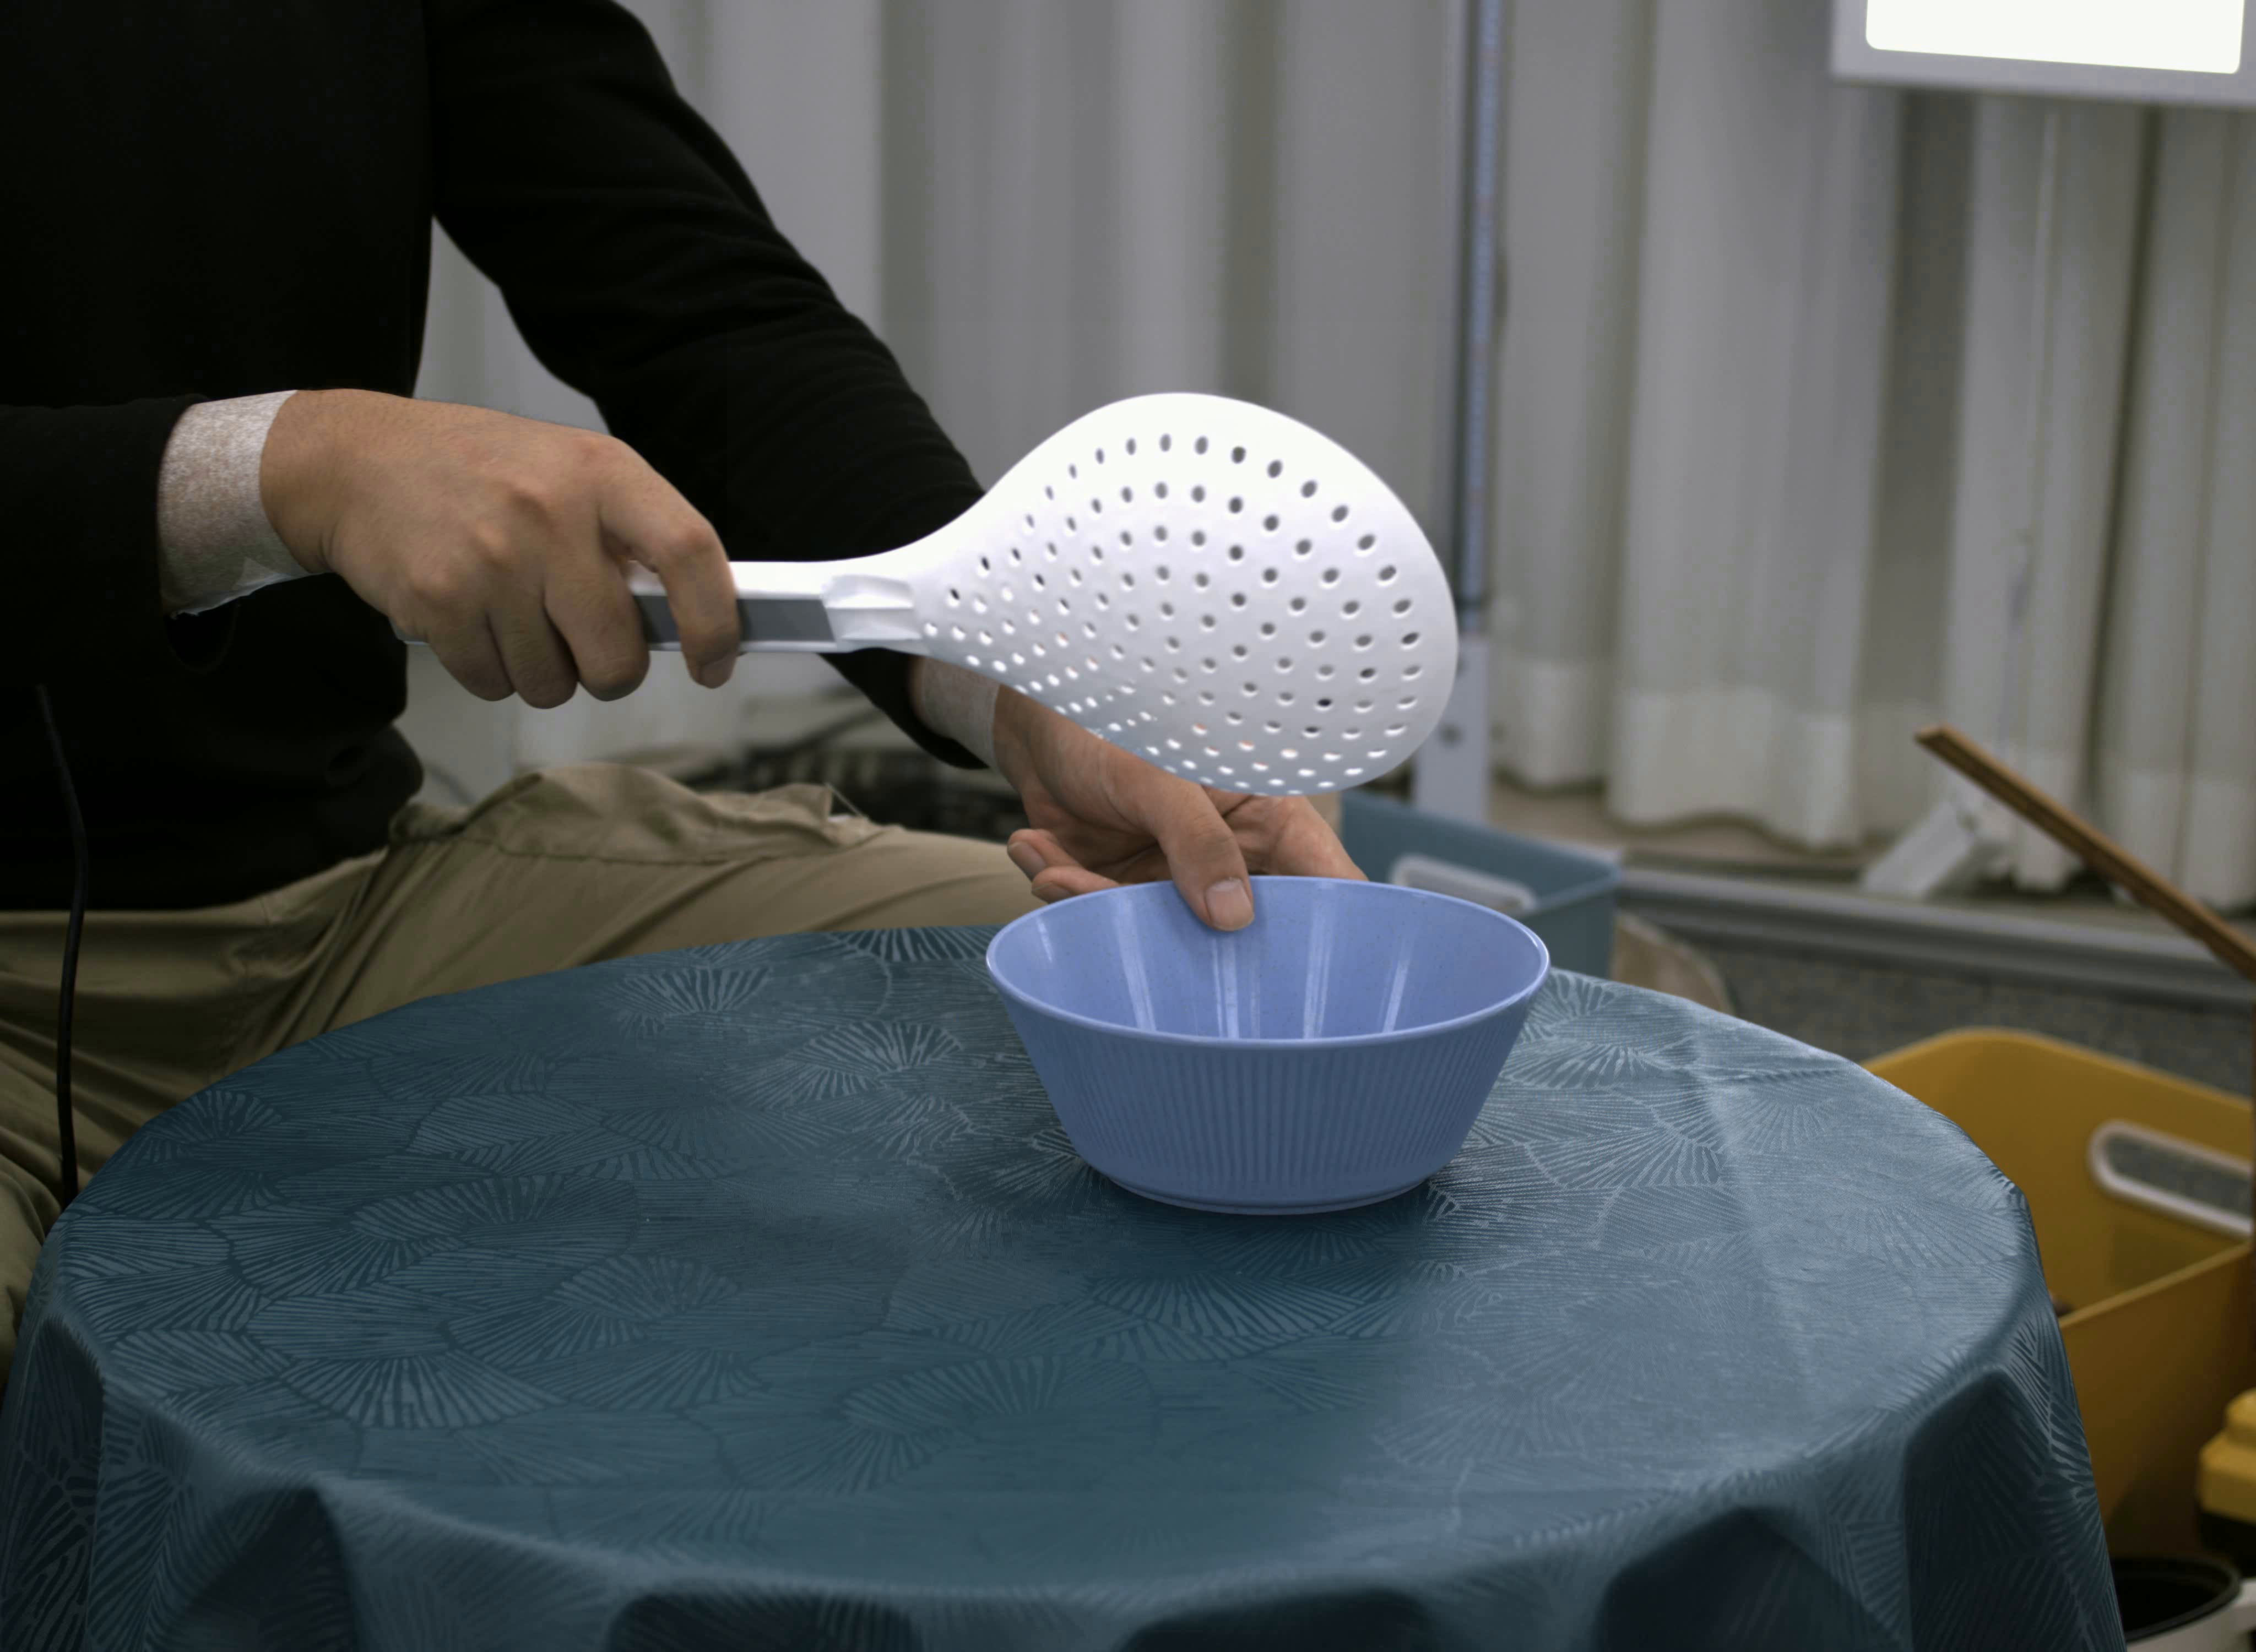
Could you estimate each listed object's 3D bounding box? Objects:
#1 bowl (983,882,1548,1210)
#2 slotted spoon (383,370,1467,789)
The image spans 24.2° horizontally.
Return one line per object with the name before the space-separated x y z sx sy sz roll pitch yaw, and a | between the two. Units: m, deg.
bowl | 0.043 0.070 1.642 0.175 0.071 0.175 0 15 1
slotted spoon | -0.068 -0.068 1.528 0.346 0.138 0.045 5 36 29
